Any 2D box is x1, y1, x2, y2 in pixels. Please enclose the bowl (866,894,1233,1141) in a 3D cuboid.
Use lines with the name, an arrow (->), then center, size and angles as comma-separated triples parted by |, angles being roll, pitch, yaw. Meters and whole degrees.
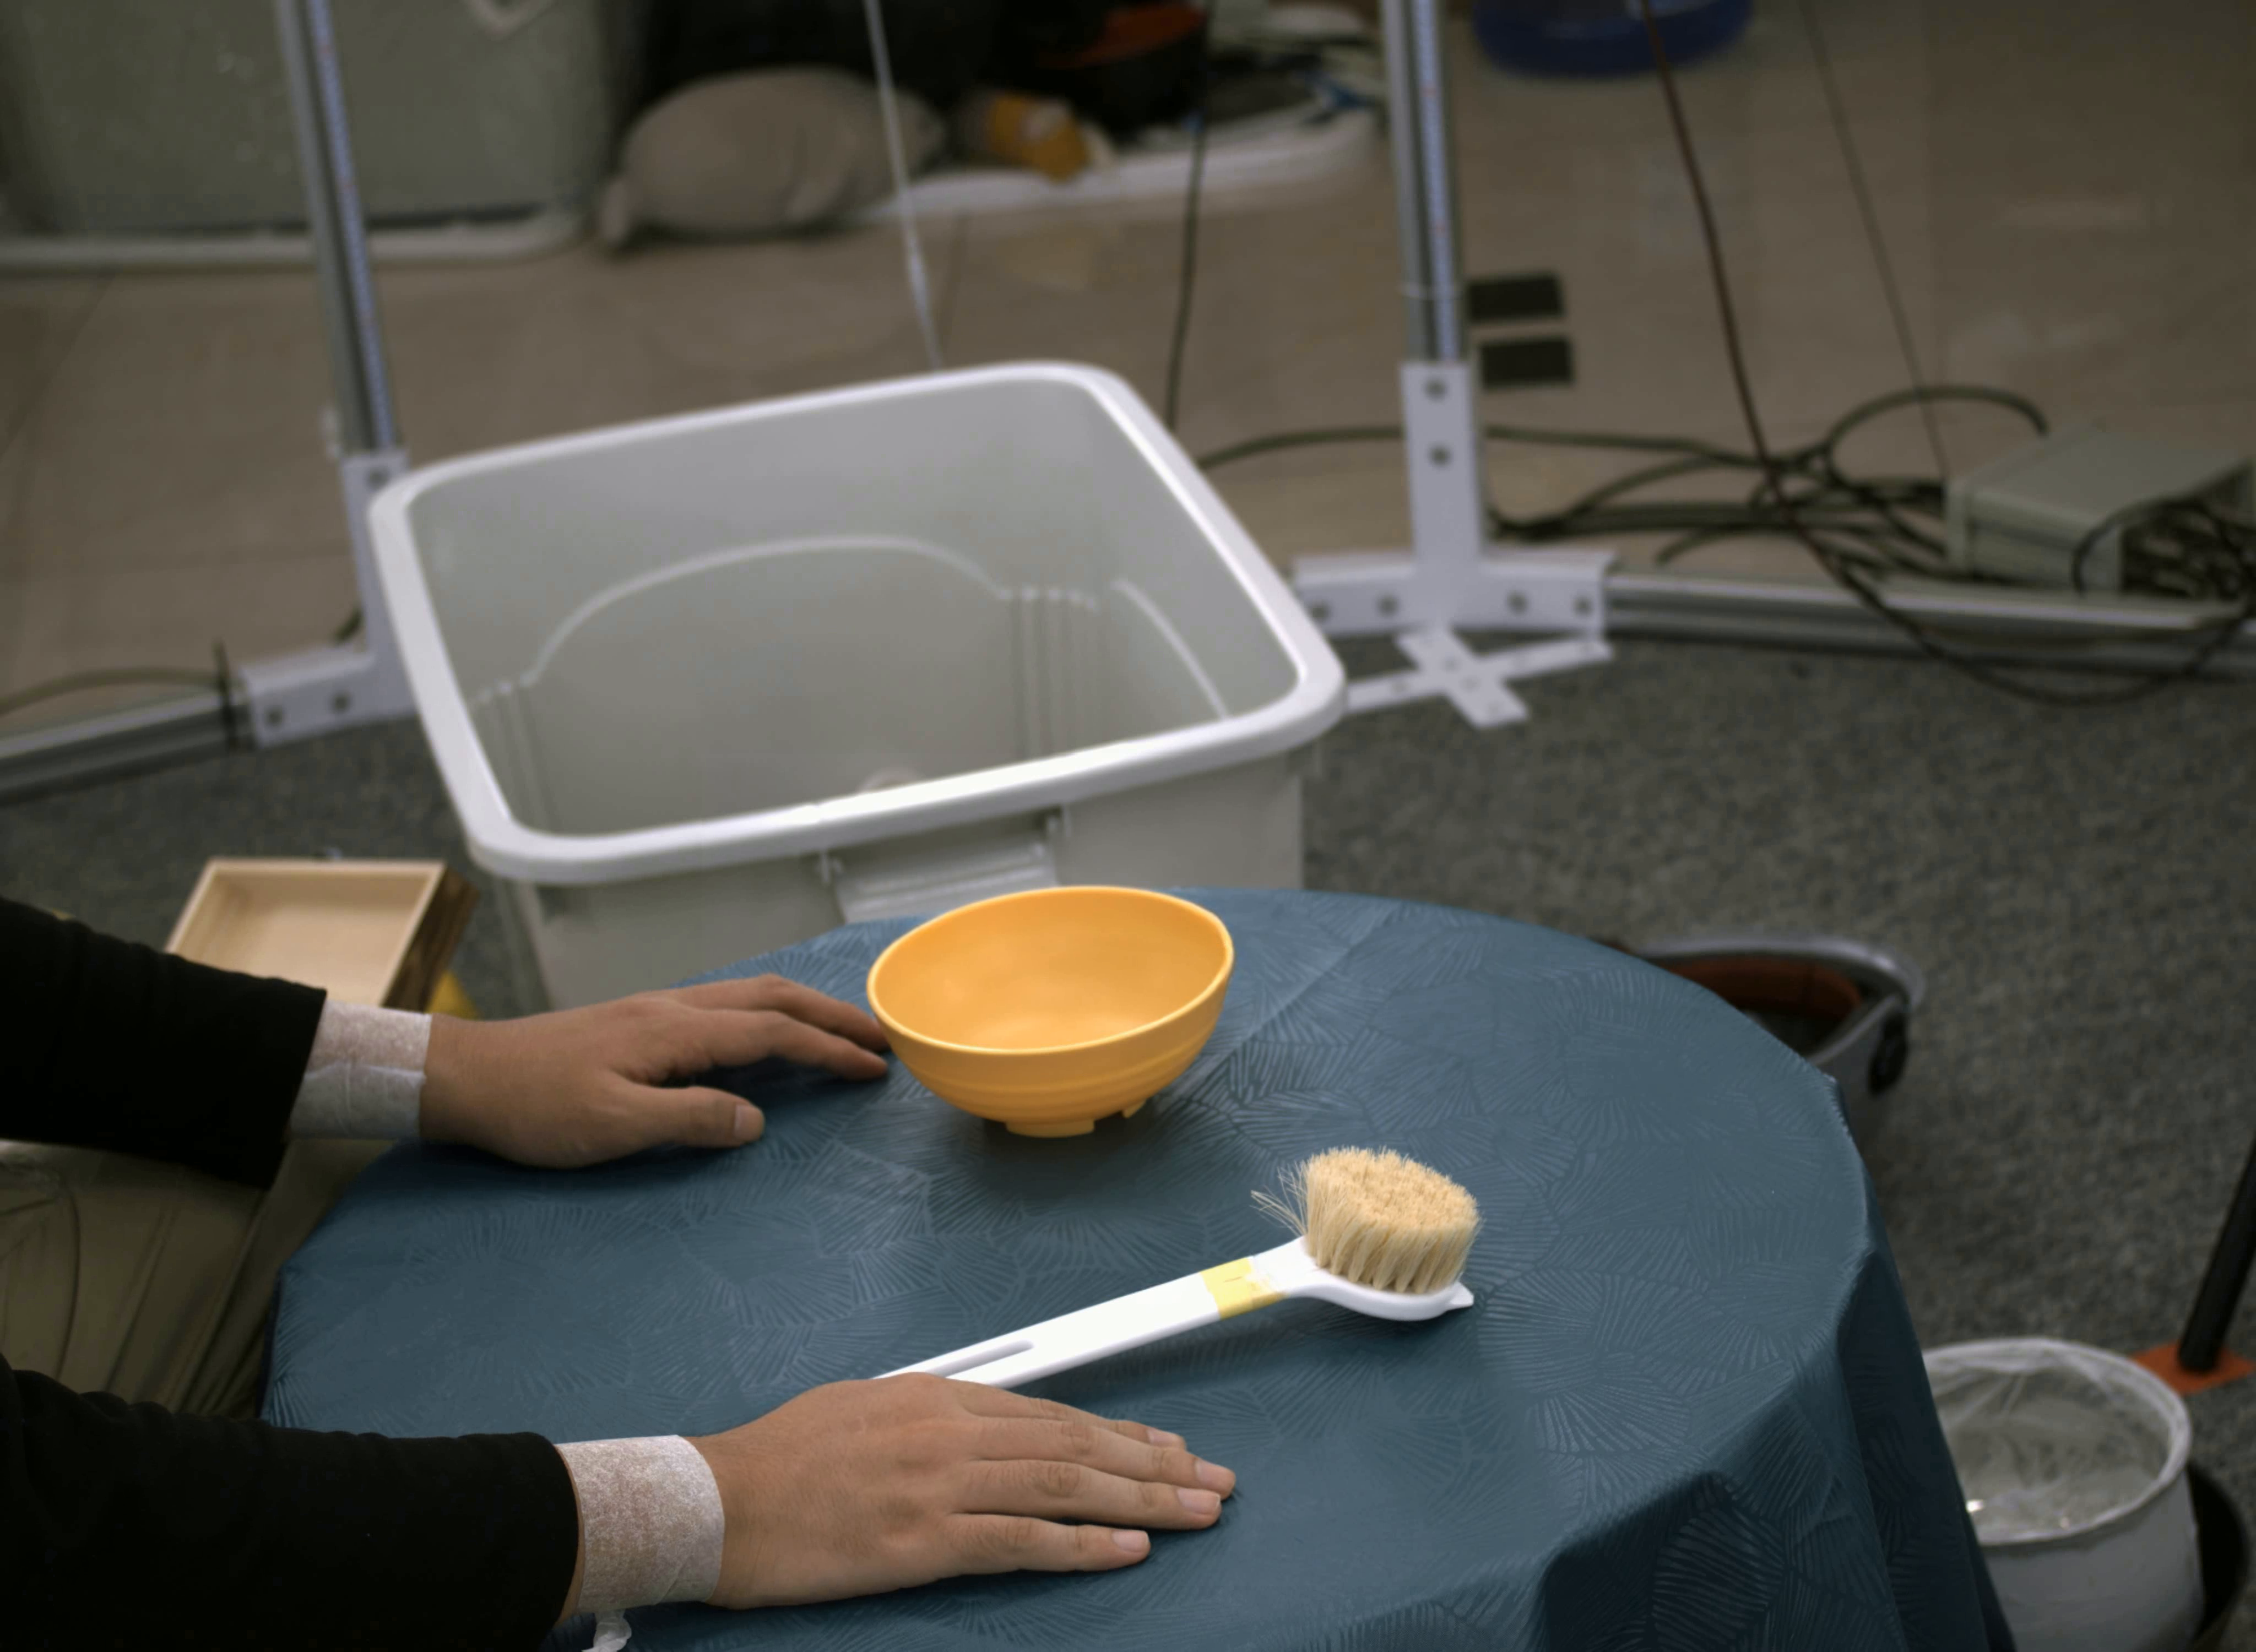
bowl -> -0.027, 0.082, 2.208 | 0.145, 0.061, 0.143 | -6, 24, 3

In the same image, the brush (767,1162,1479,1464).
brush -> -0.002, 0.171, 2.016 | 0.266, 0.057, 0.068 | -12, 21, -10
